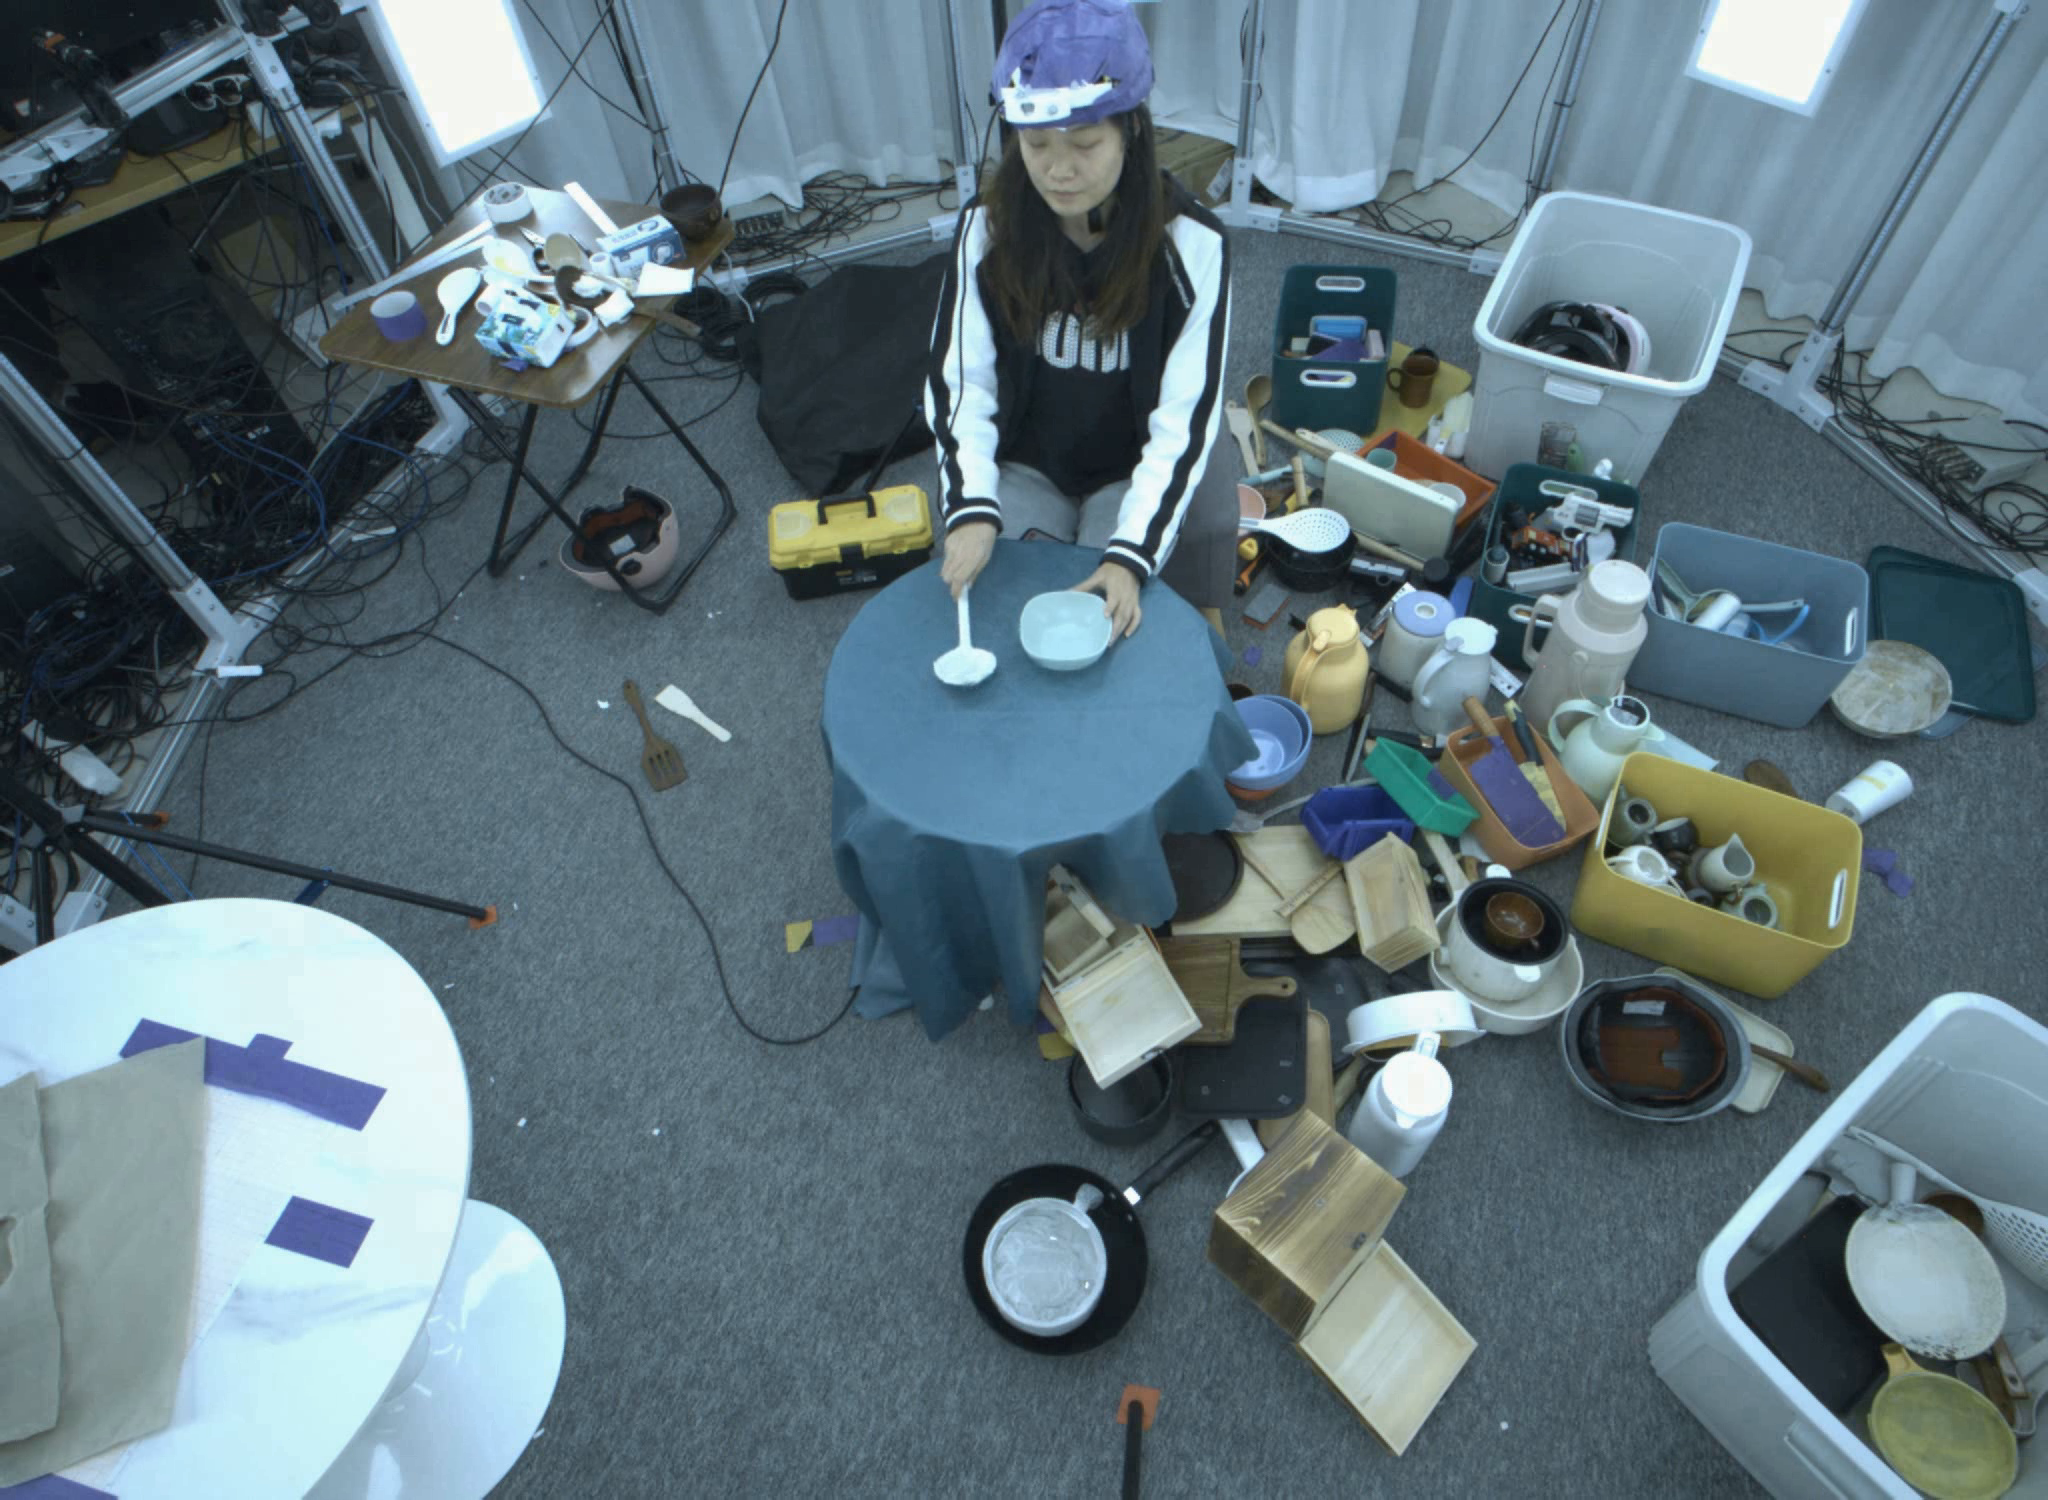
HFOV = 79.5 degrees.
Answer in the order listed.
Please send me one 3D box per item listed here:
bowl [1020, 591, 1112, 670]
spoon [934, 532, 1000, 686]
[{"bbox_3d":[0.064,-0.173,1.876,0.151,0.059,0.150,0,55,2],"label":"bowl"},{"bbox_3d":[-0.086,-0.220,1.873,0.101,0.059,0.276,1,74,-4],"label":"spoon"}]
